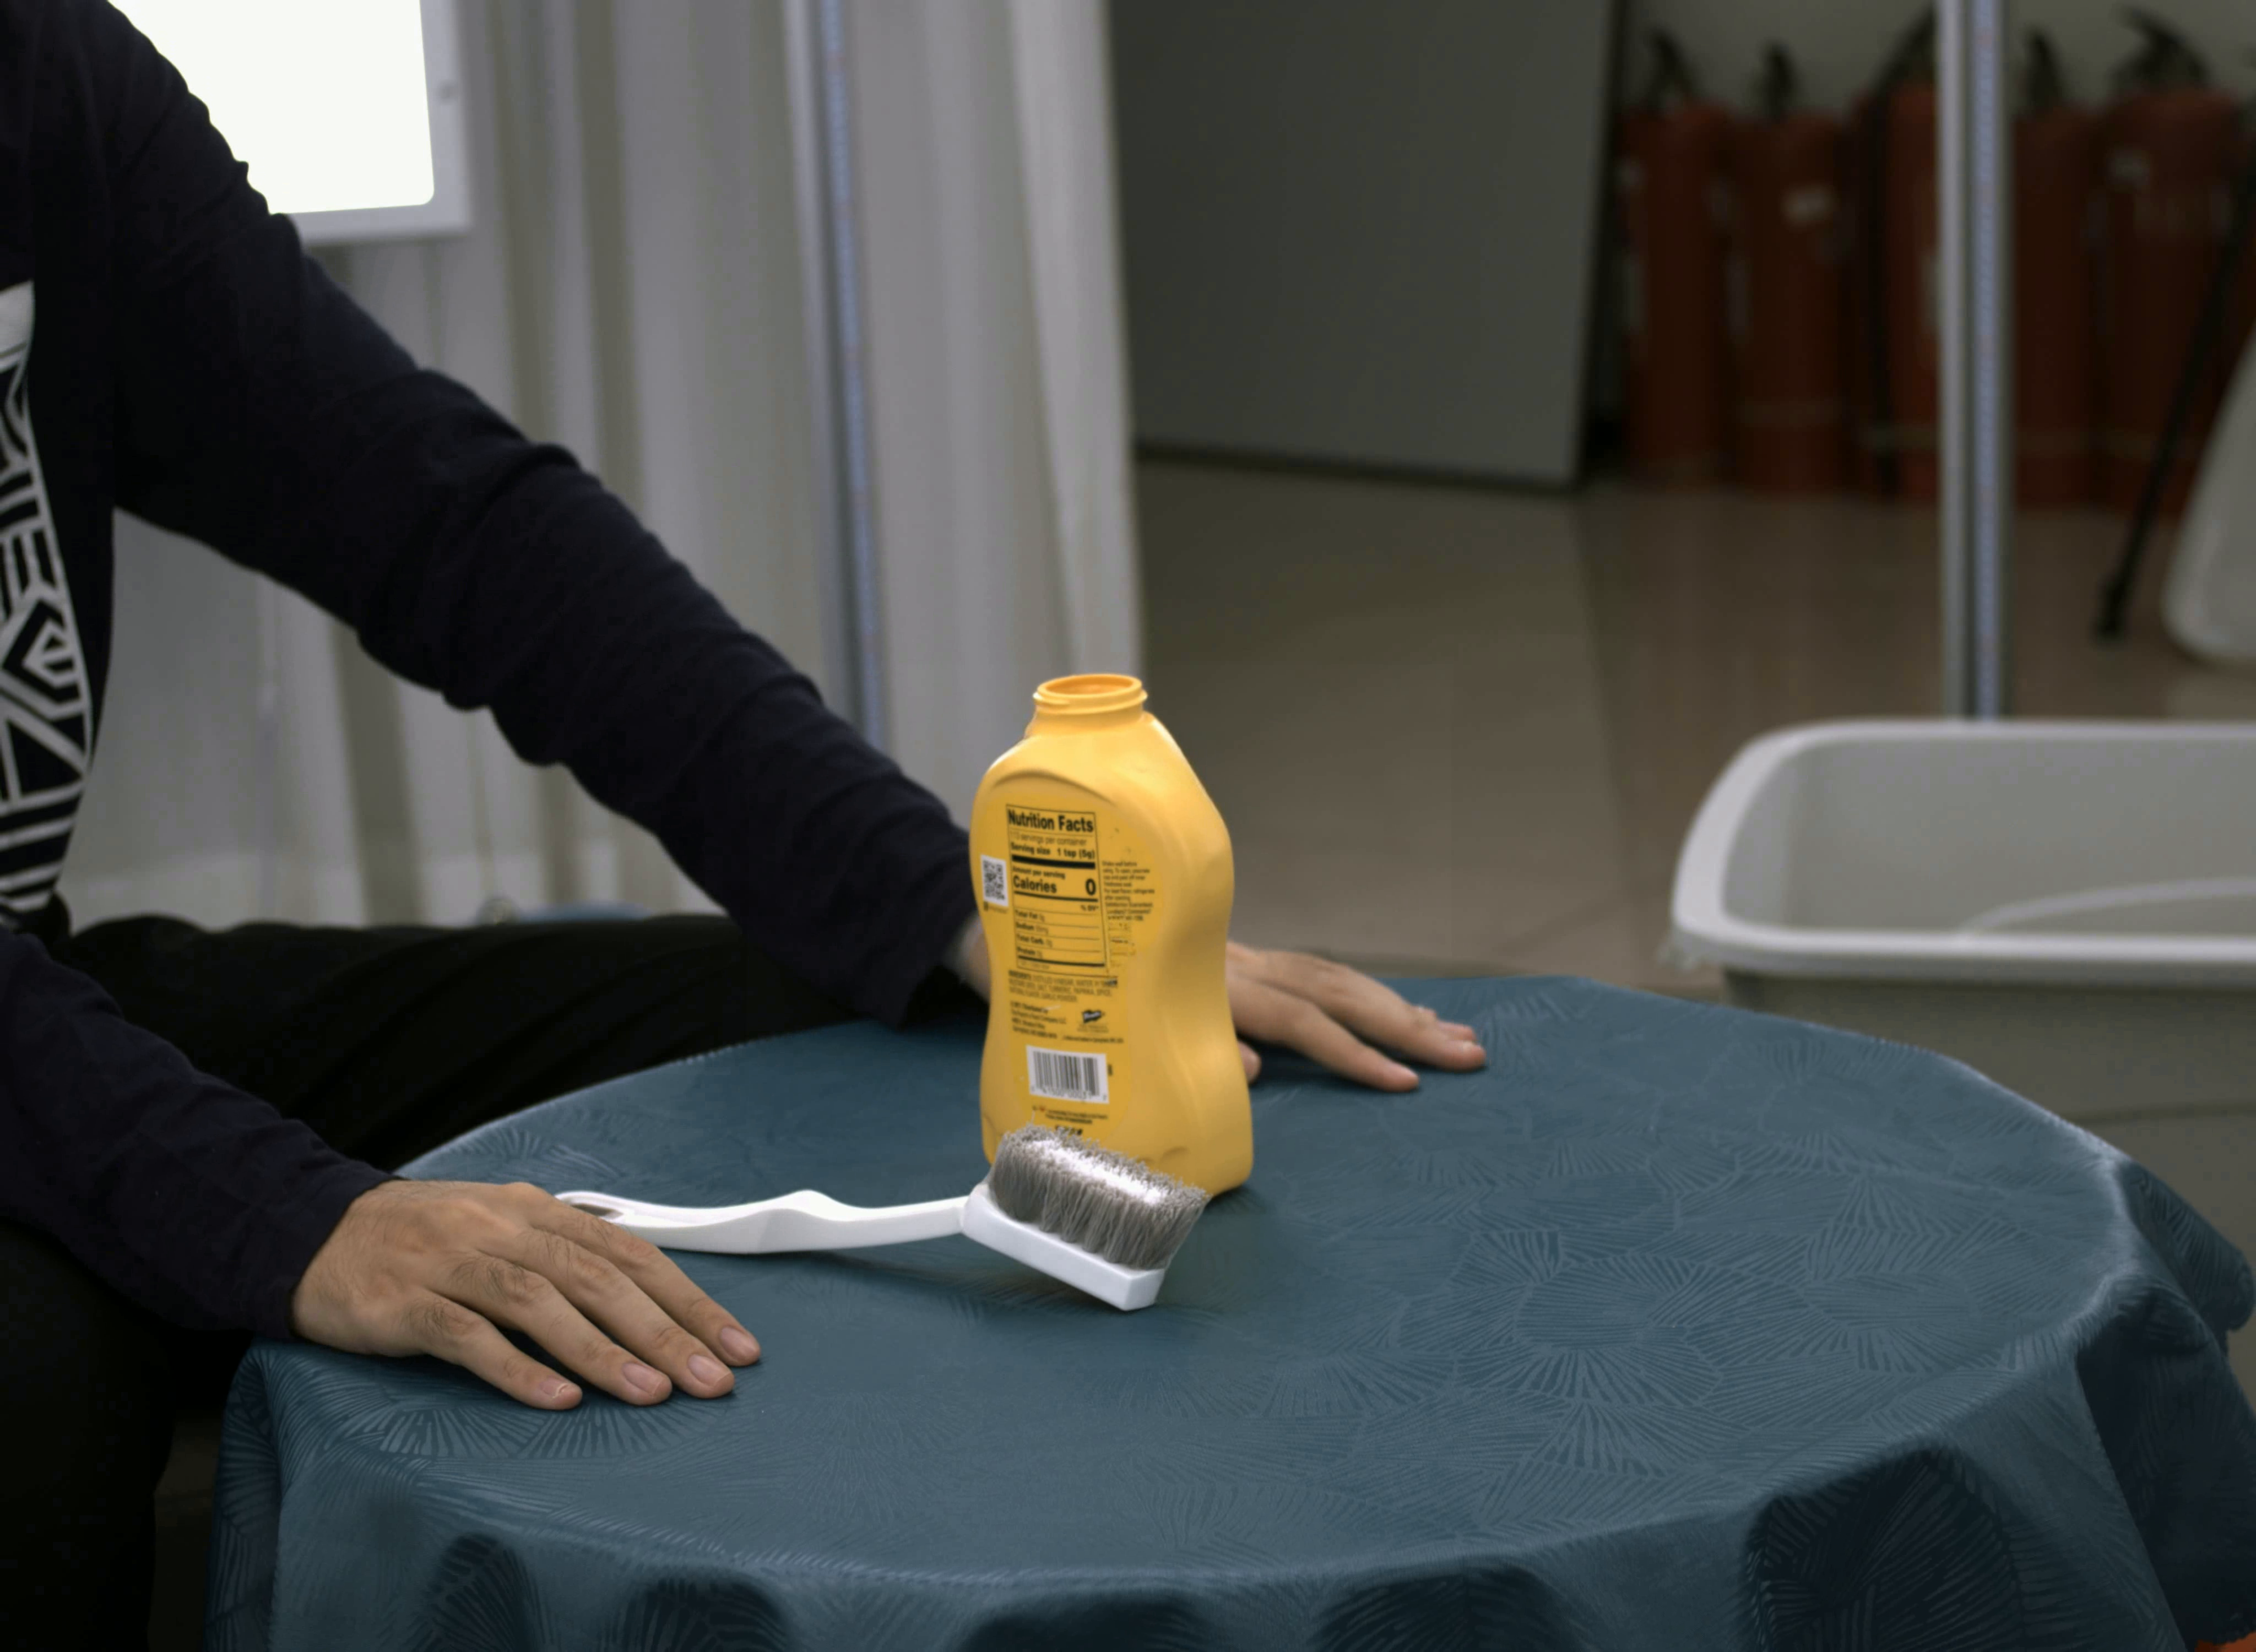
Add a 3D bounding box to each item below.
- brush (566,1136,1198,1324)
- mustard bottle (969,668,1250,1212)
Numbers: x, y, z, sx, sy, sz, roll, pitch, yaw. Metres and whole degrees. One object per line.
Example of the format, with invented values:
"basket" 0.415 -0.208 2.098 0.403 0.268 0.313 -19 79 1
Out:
"brush" -0.084 0.118 1.718 0.245 0.051 0.034 5 20 35
"mustard bottle" -0.009 0.036 1.765 0.099 0.174 0.058 3 12 35
